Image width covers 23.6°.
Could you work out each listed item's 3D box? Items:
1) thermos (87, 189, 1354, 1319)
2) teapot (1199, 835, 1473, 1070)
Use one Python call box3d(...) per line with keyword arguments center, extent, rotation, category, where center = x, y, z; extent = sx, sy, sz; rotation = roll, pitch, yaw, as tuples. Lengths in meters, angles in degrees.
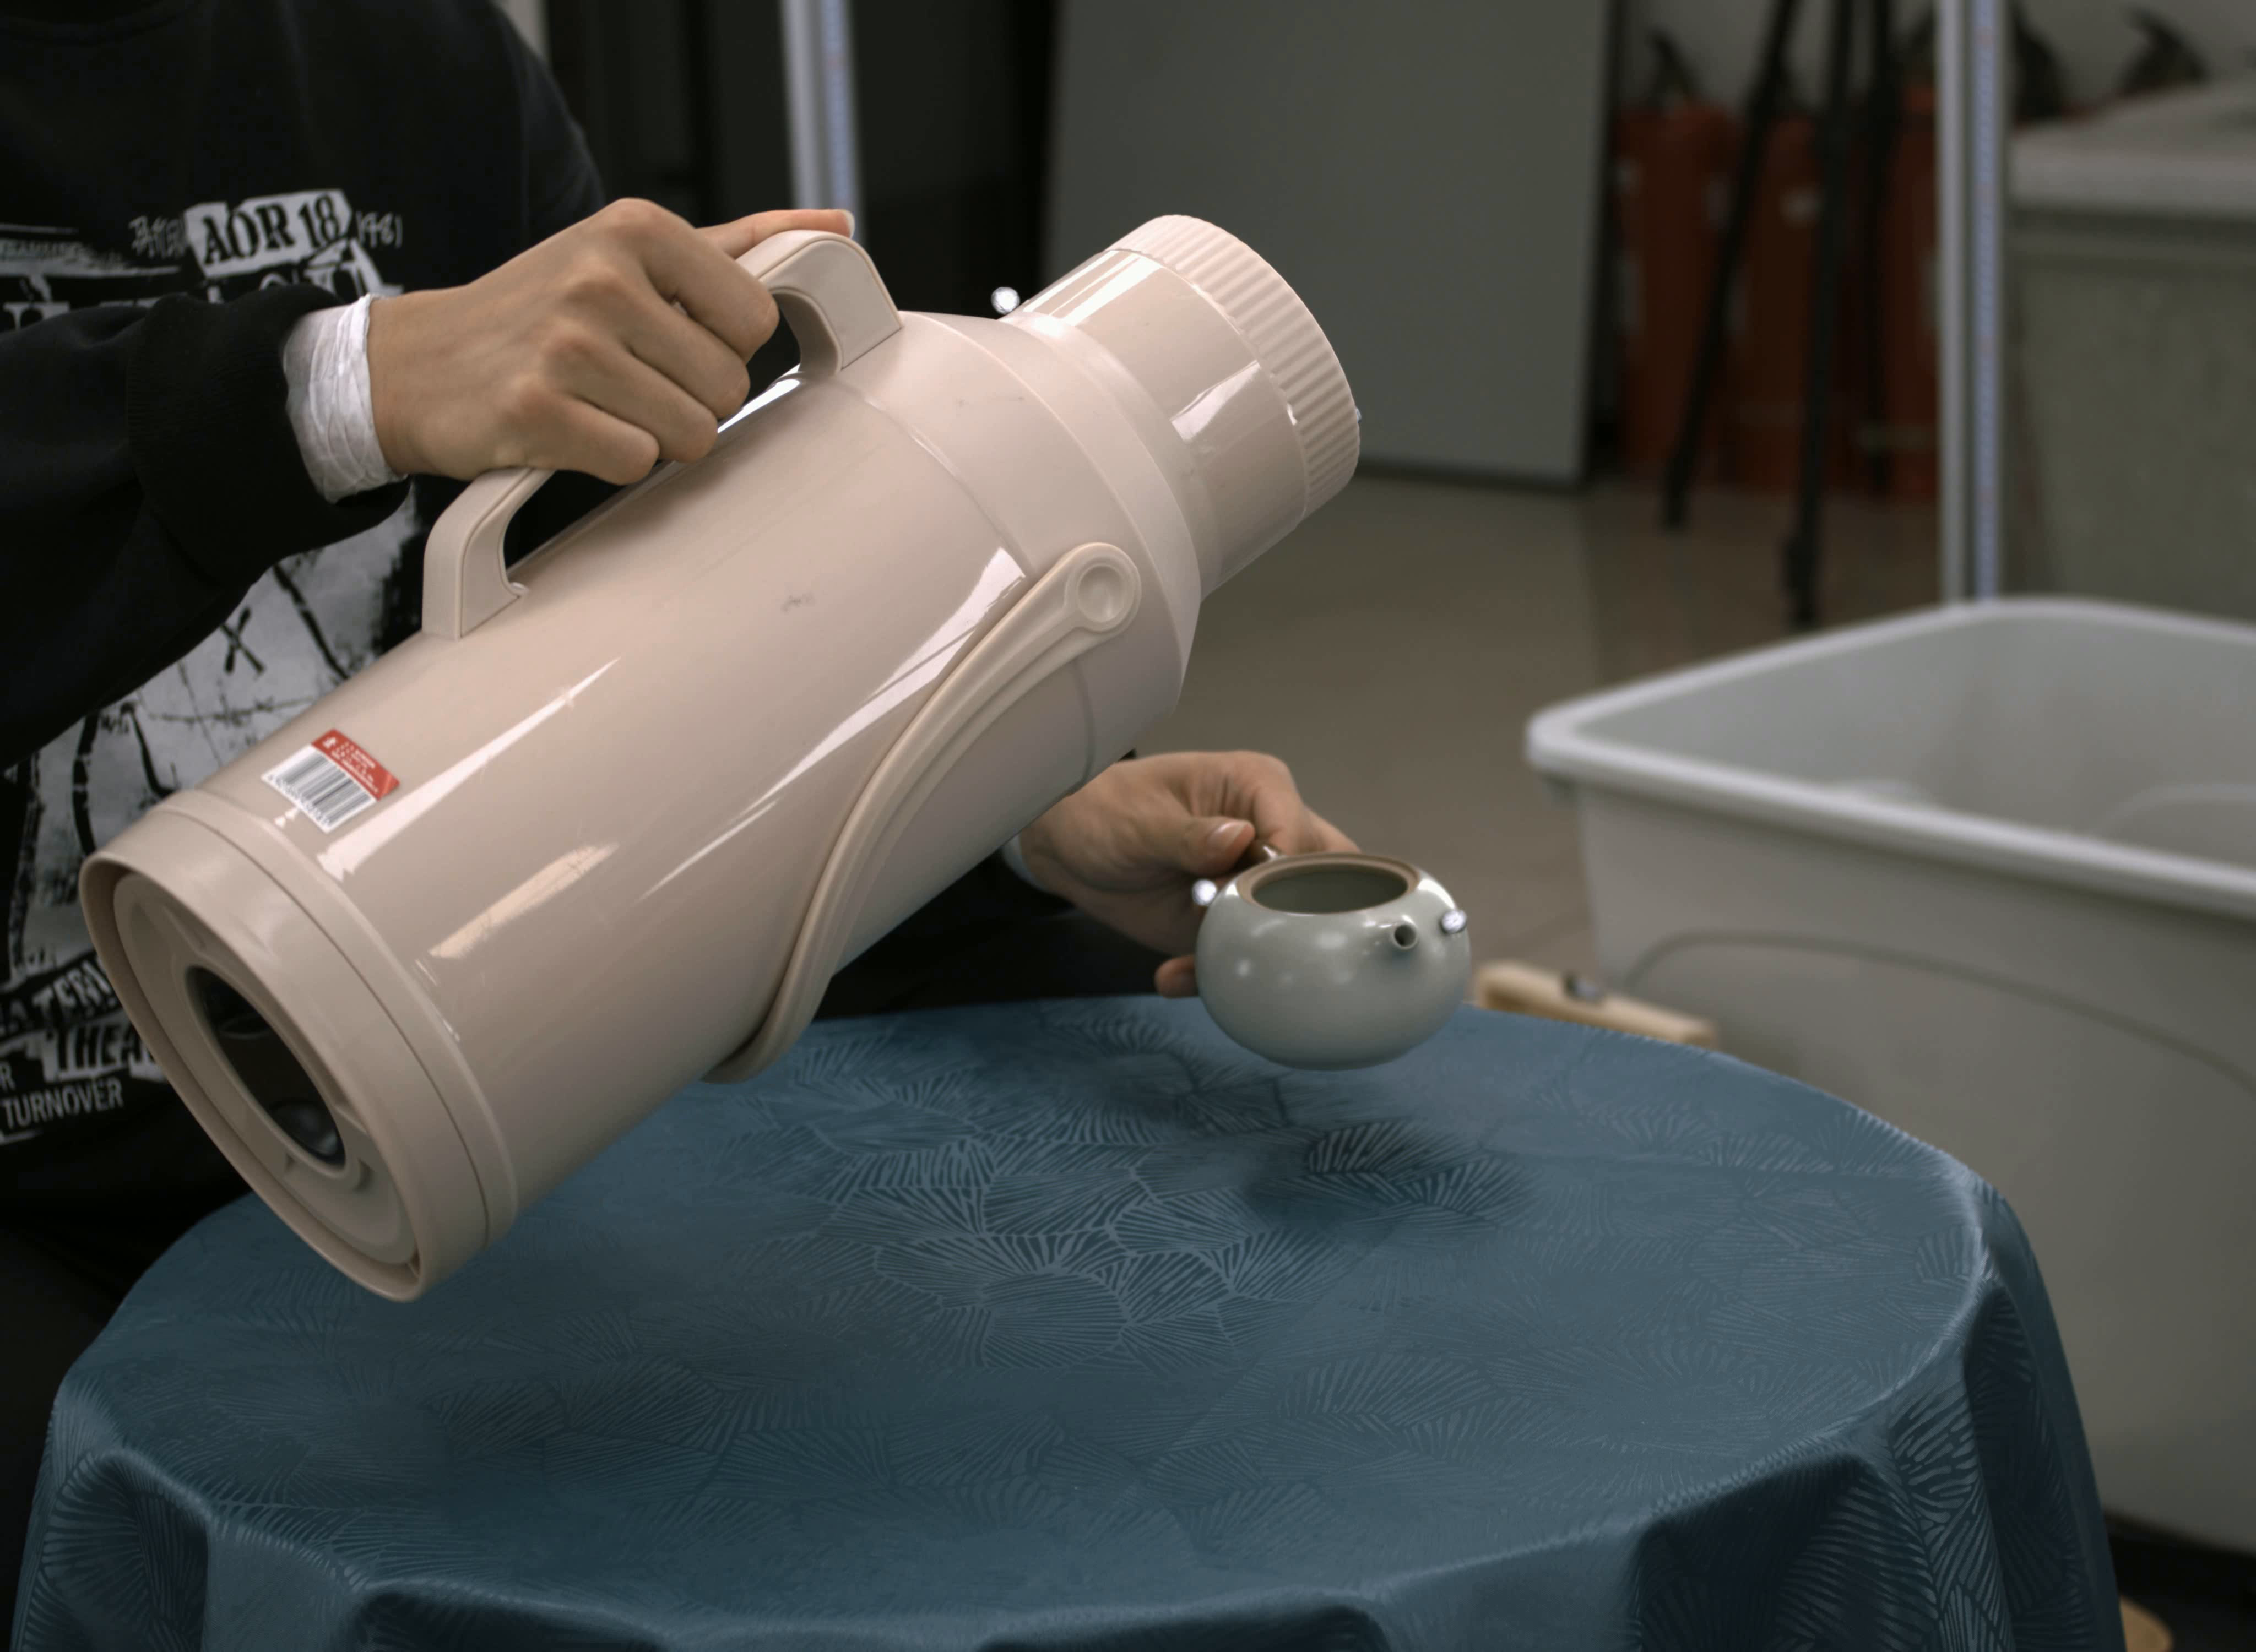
box3d(center=(-0.115, -0.049, 1.618), extent=(0.402, 0.207, 0.177), rotation=(-38, 25, -20), category="thermos")
box3d(center=(0.064, 0.041, 1.789), extent=(0.090, 0.060, 0.129), rotation=(-16, 22, -23), category="teapot")
